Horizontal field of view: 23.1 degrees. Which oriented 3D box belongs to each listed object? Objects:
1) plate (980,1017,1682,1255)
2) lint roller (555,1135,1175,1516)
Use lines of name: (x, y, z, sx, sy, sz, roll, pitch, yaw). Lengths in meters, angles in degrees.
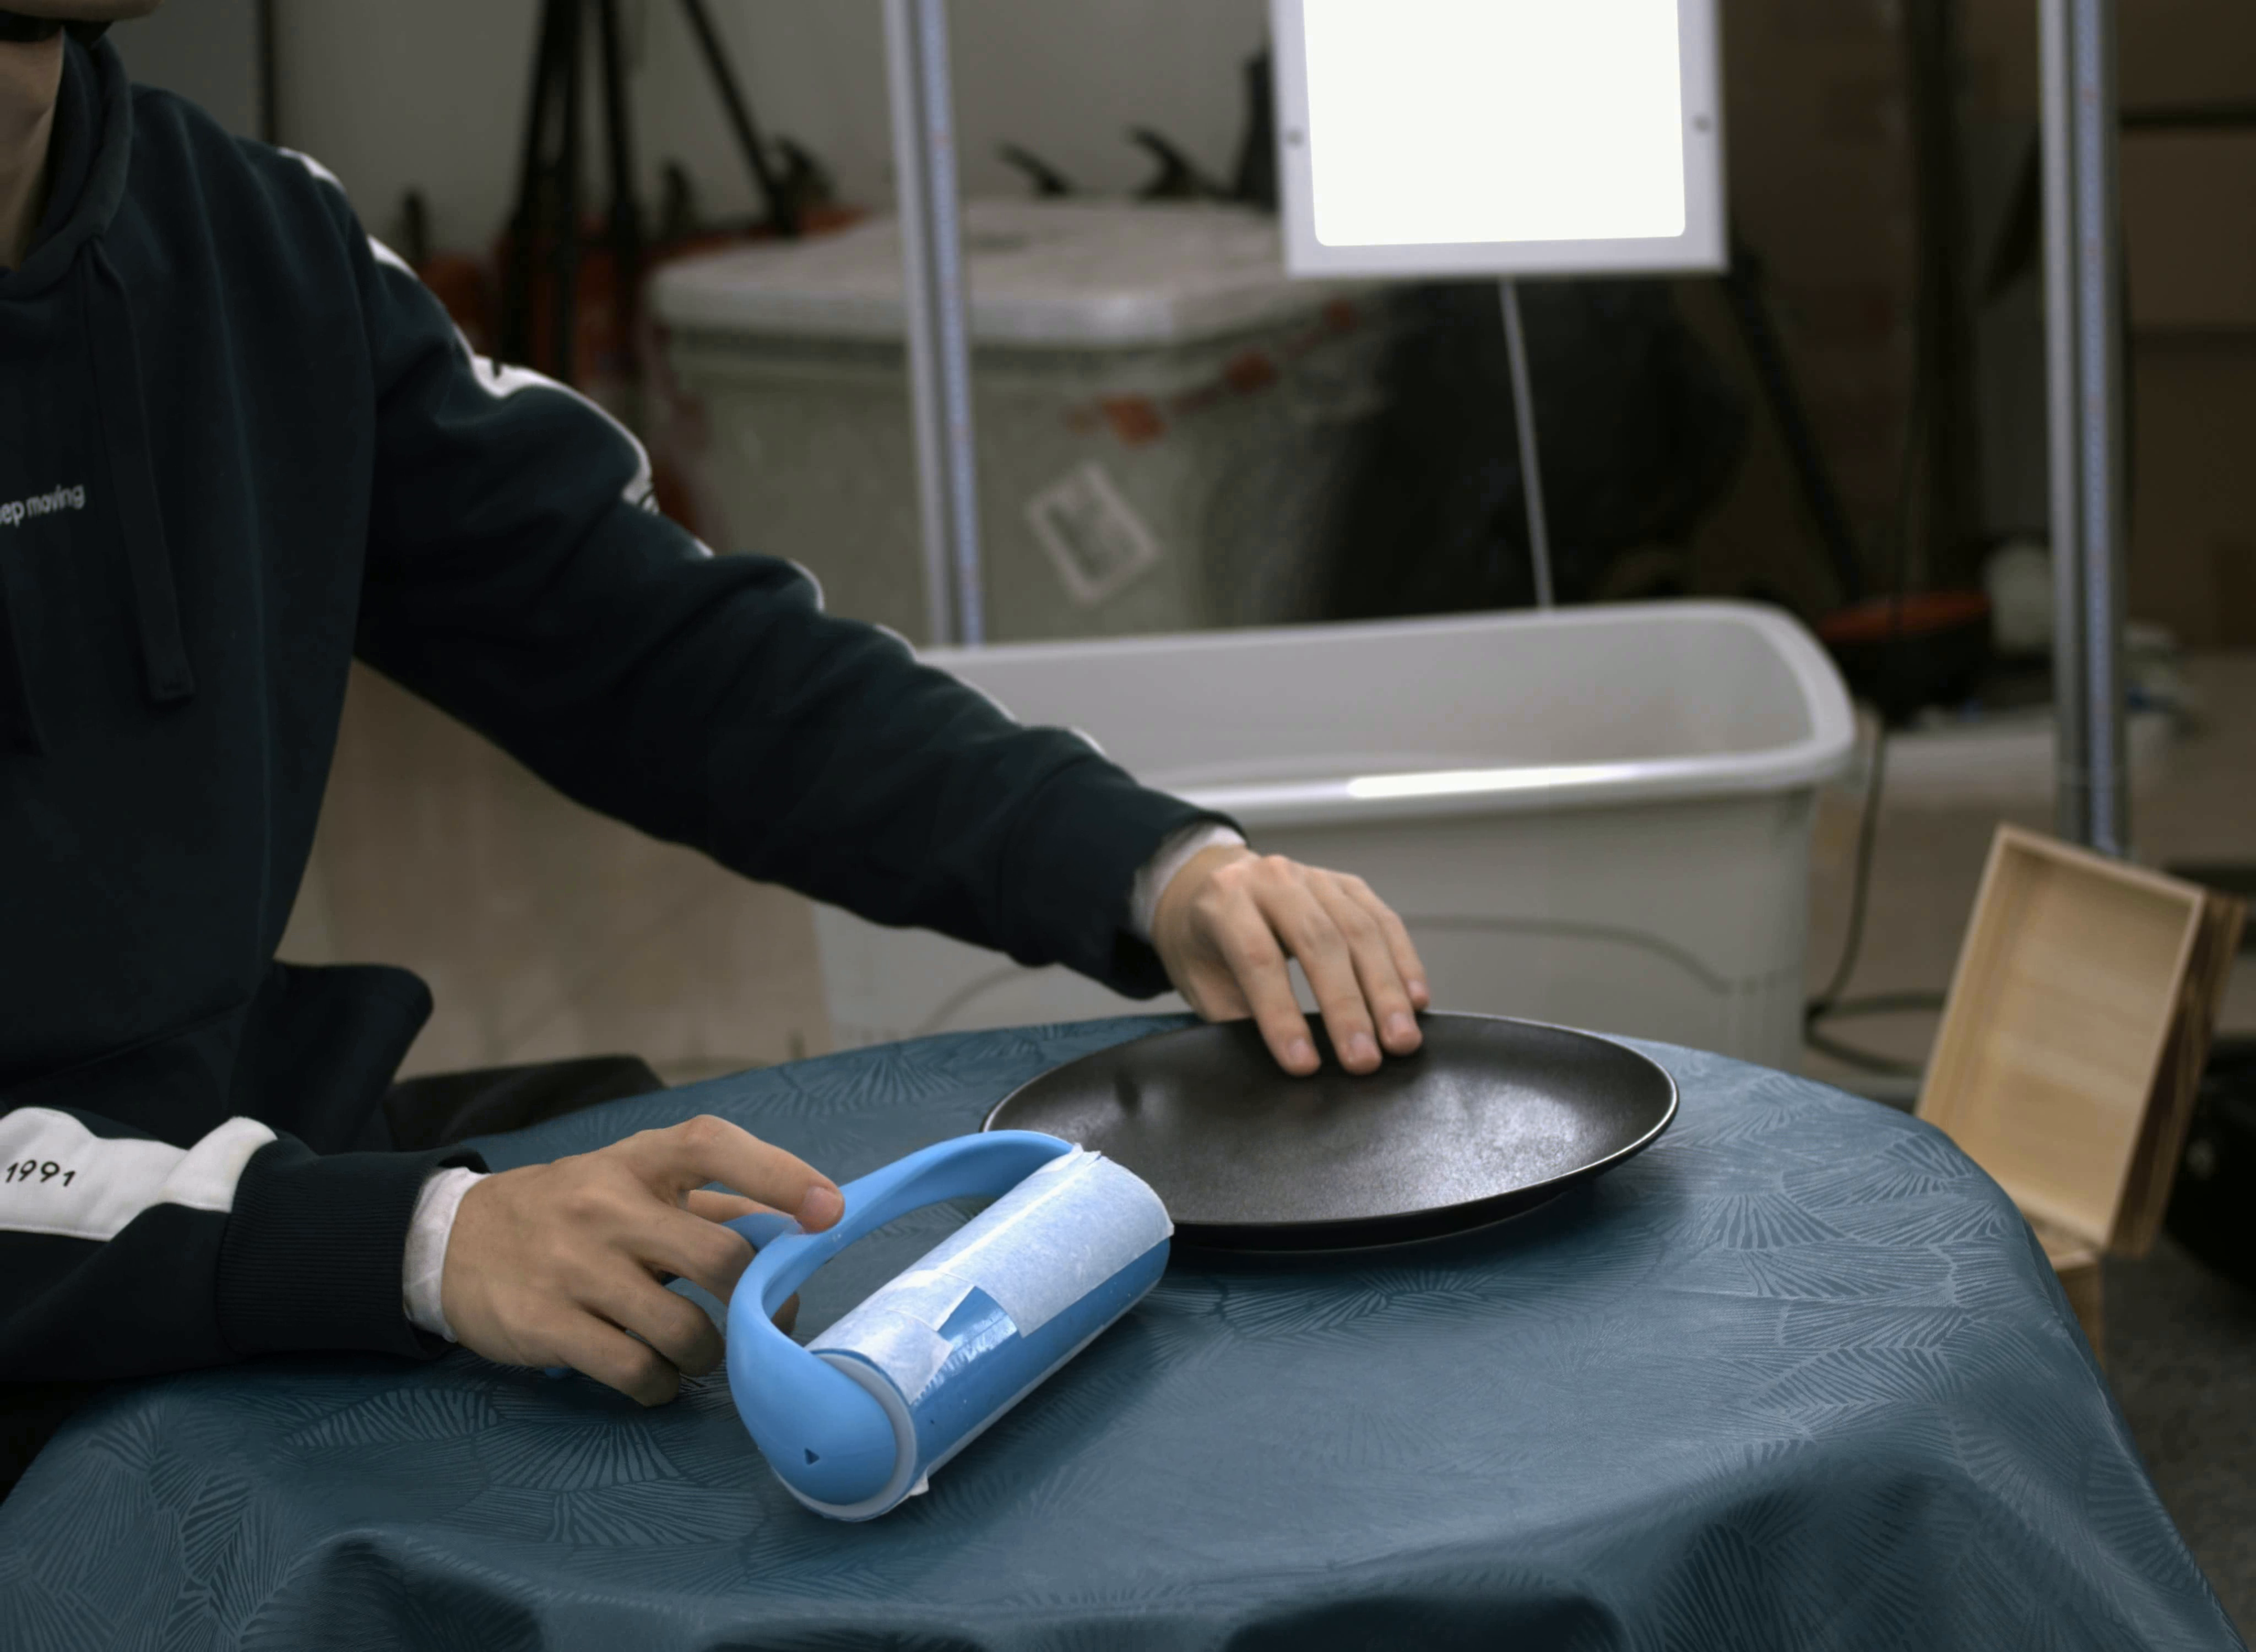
plate: (0.071, 0.108, 1.896, 0.244, 0.023, 0.244, -5, 13, 0)
lint roller: (-0.100, 0.152, 1.711, 0.183, 0.068, 0.225, 0, 15, 21)
